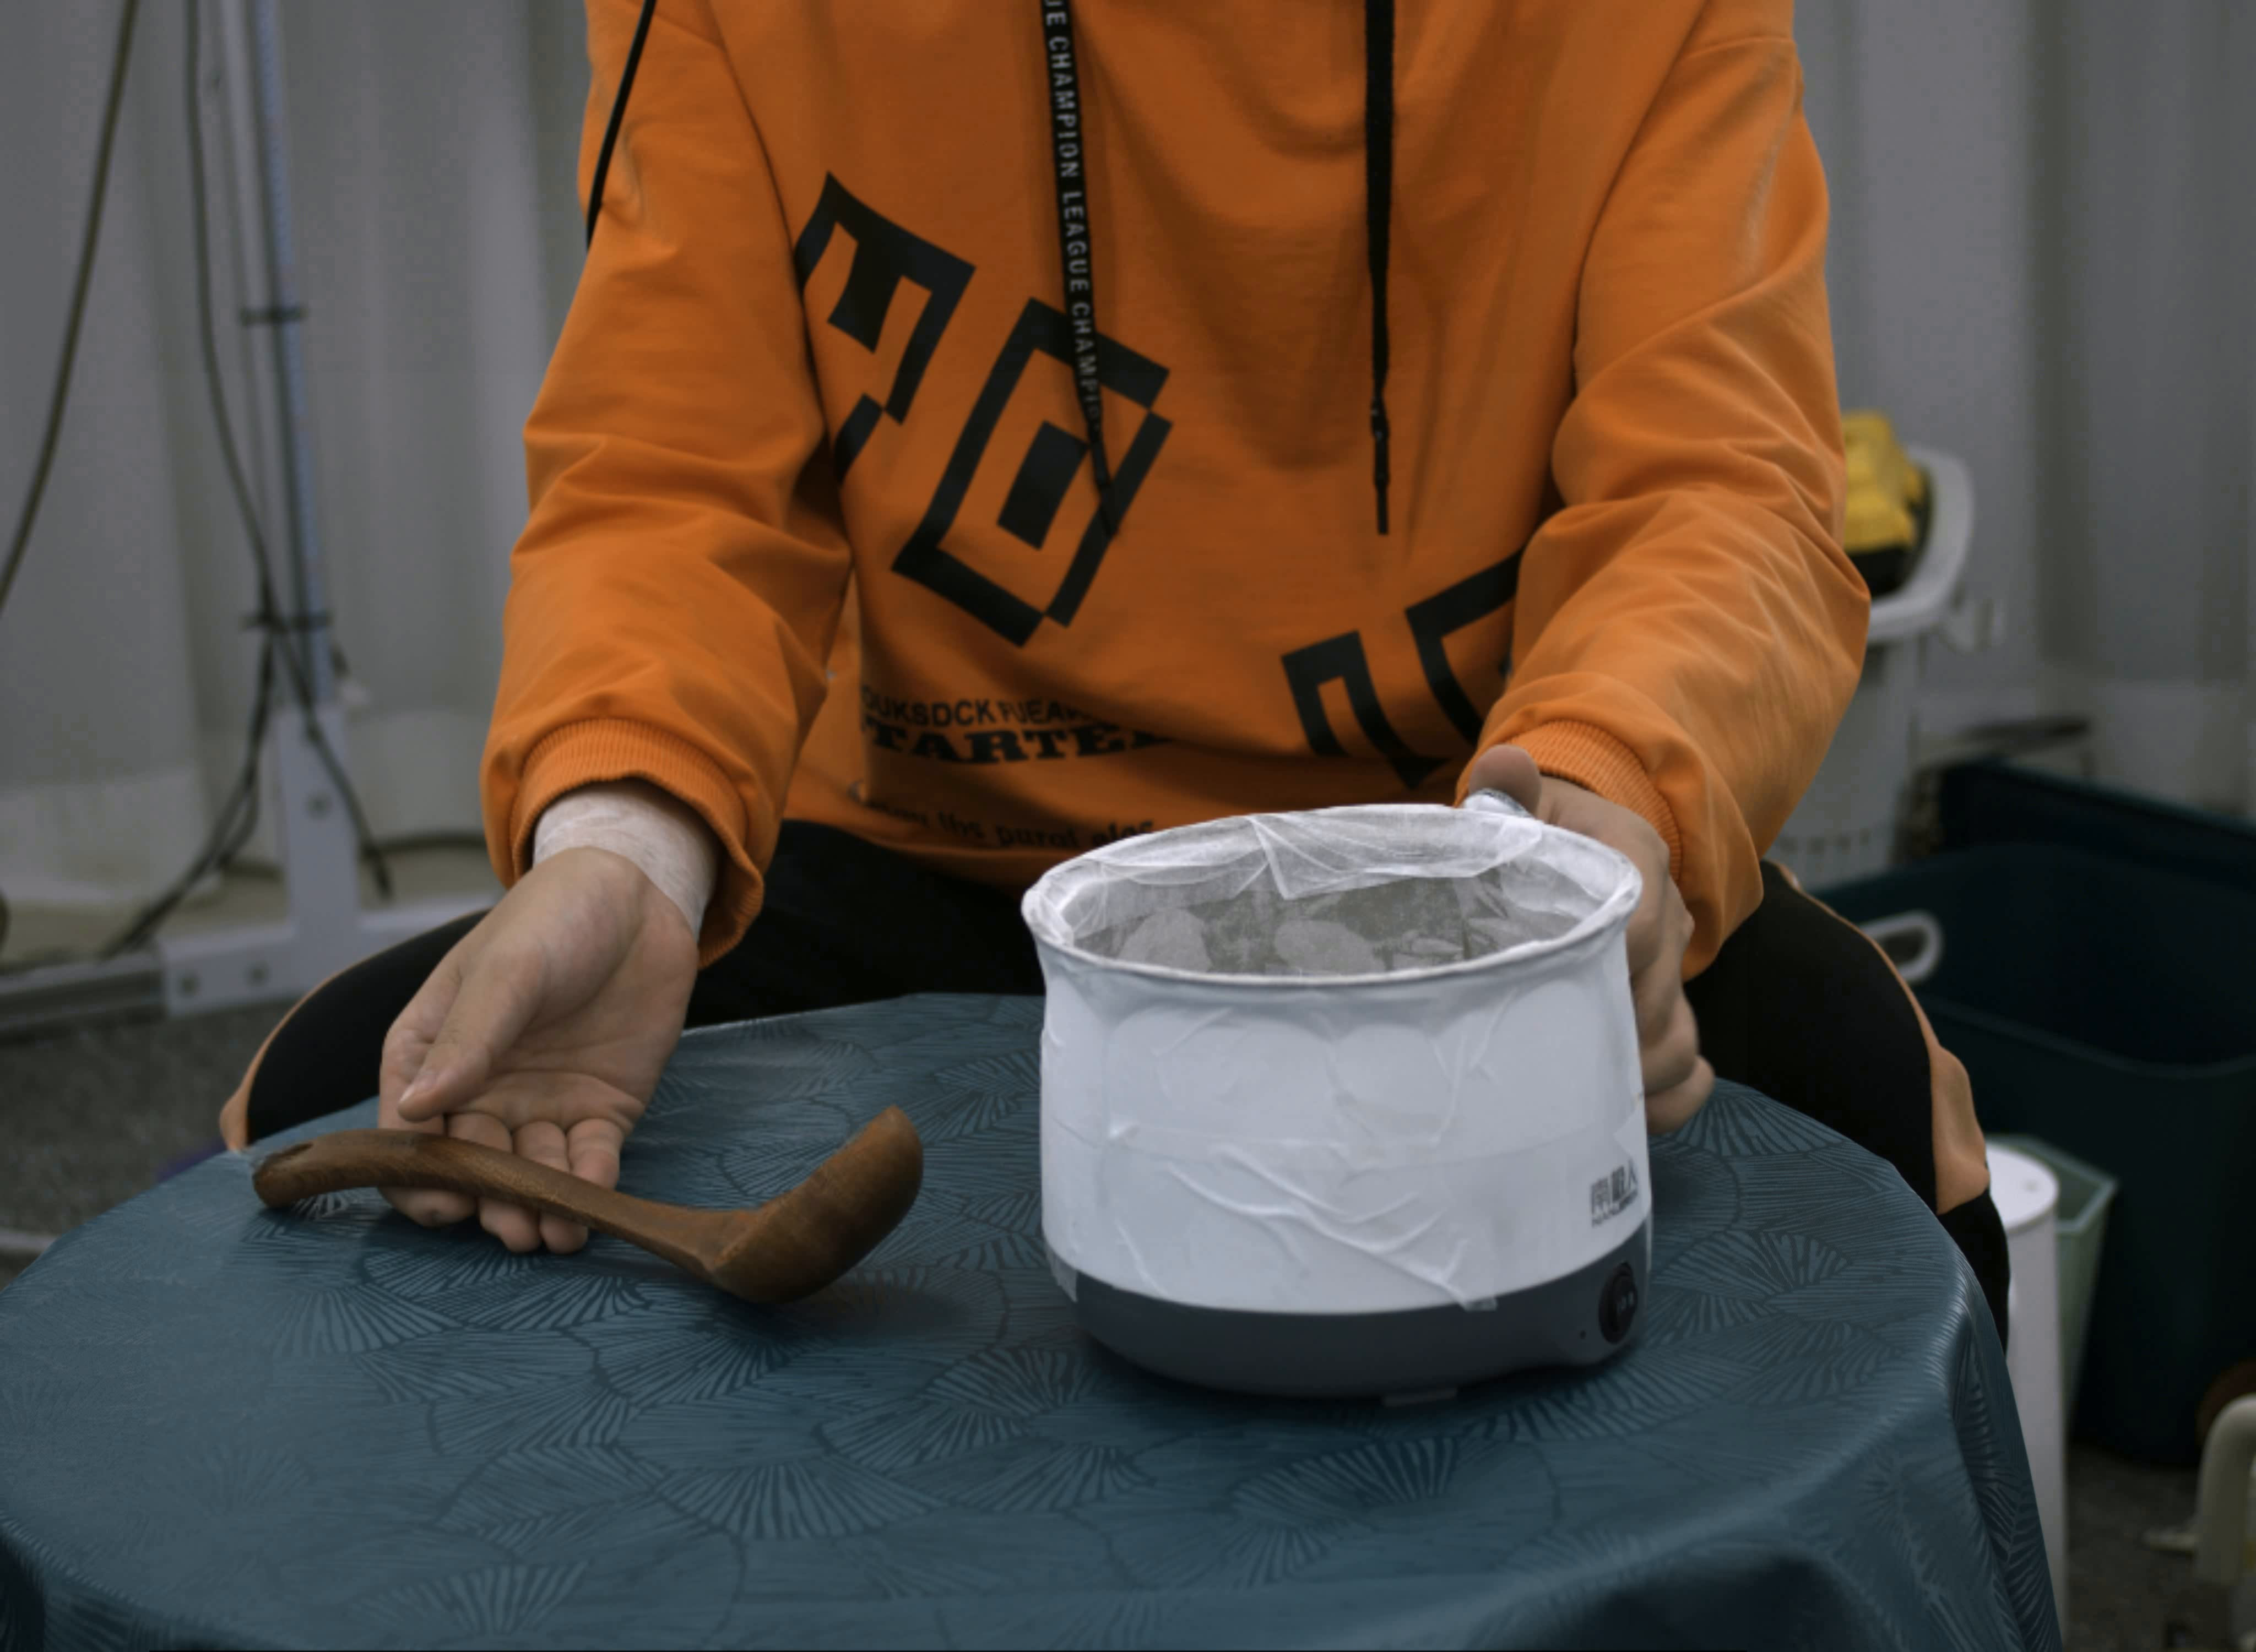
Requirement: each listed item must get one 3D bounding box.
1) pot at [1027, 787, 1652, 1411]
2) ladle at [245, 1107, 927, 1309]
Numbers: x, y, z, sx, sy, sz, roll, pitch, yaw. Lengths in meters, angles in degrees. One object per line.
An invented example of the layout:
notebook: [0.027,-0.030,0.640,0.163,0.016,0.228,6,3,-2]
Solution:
pot: [0.075,0.072,1.595,0.179,0.136,0.234,6,17,29]
ladle: [-0.173,0.103,1.670,0.261,0.064,0.077,8,24,33]
